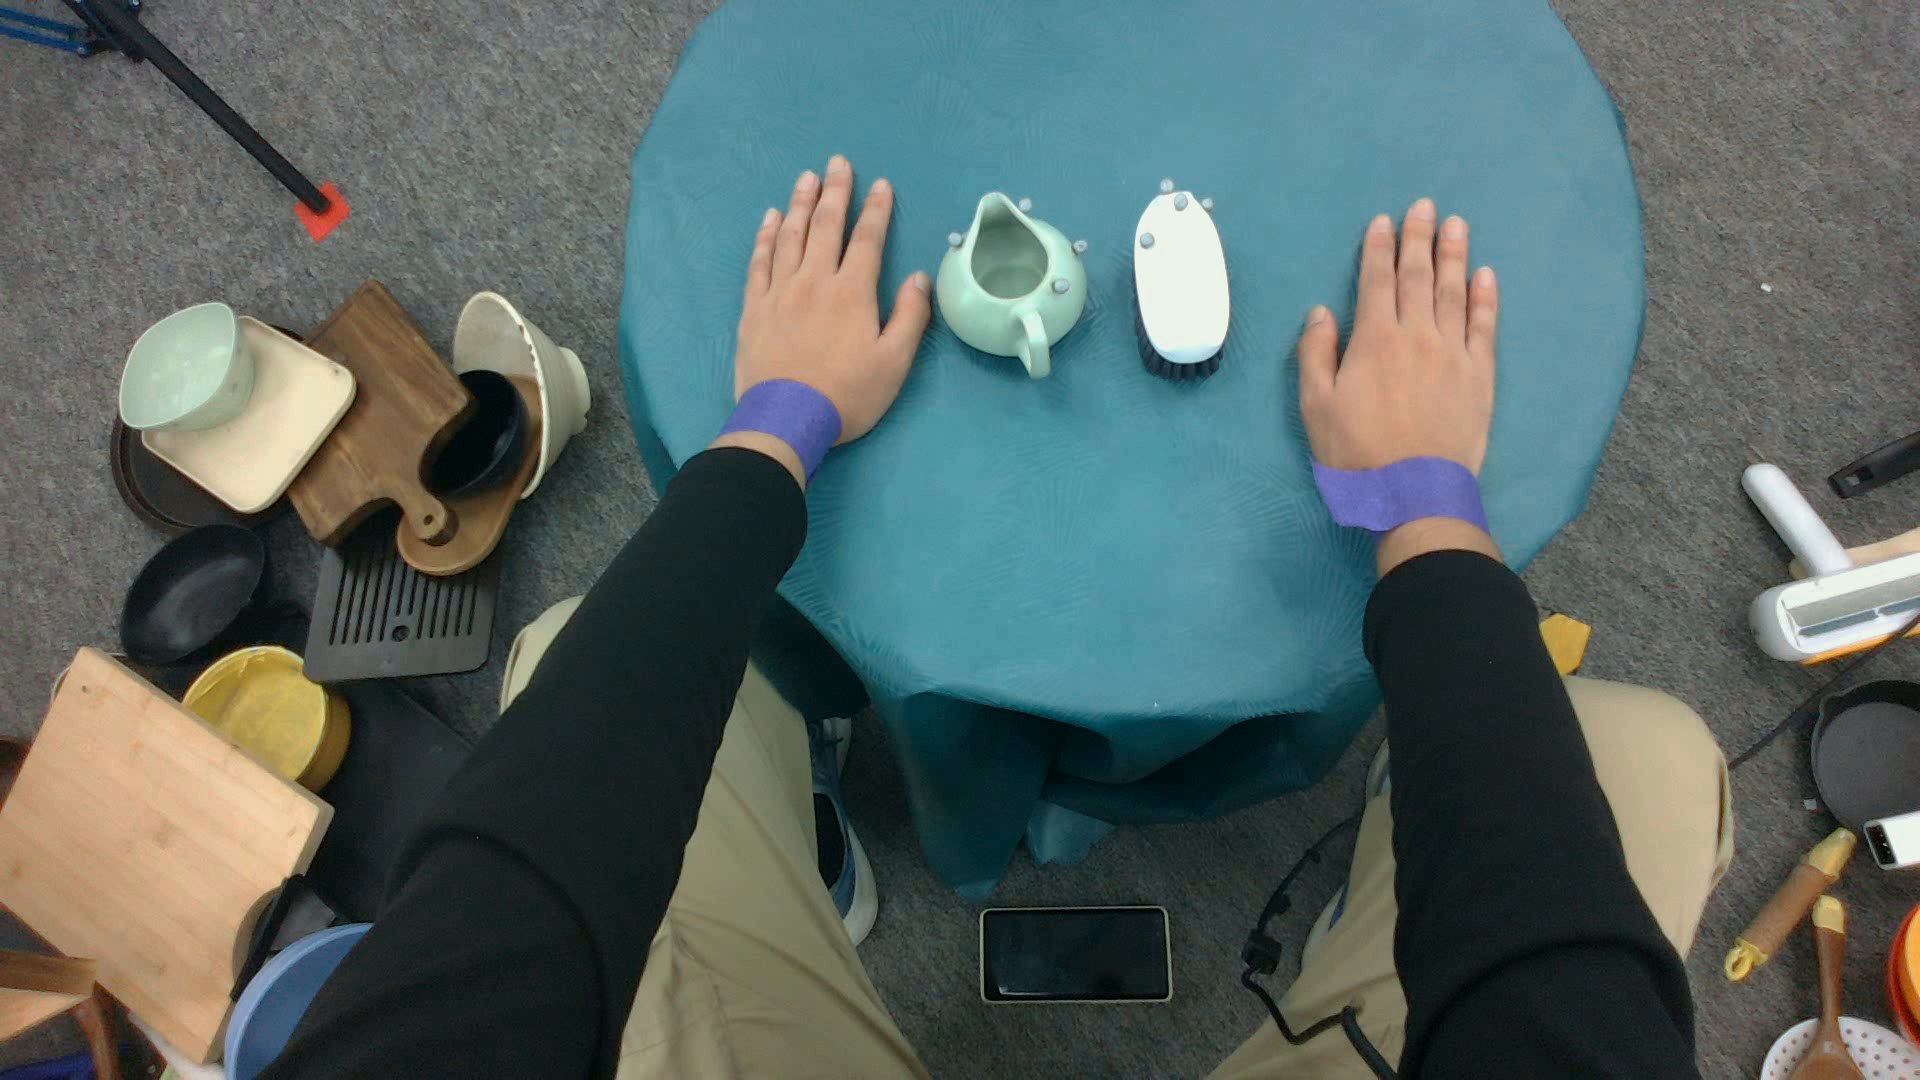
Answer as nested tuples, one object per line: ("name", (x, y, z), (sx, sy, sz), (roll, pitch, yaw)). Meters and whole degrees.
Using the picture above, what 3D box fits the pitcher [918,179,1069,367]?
("pitcher", (0.022, -0.145, 0.777), (0.086, 0.060, 0.108), (-18, 75, -2))

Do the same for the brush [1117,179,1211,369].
("brush", (0.114, -0.154, 0.763), (0.050, 0.072, 0.099), (-4, 71, 4))
